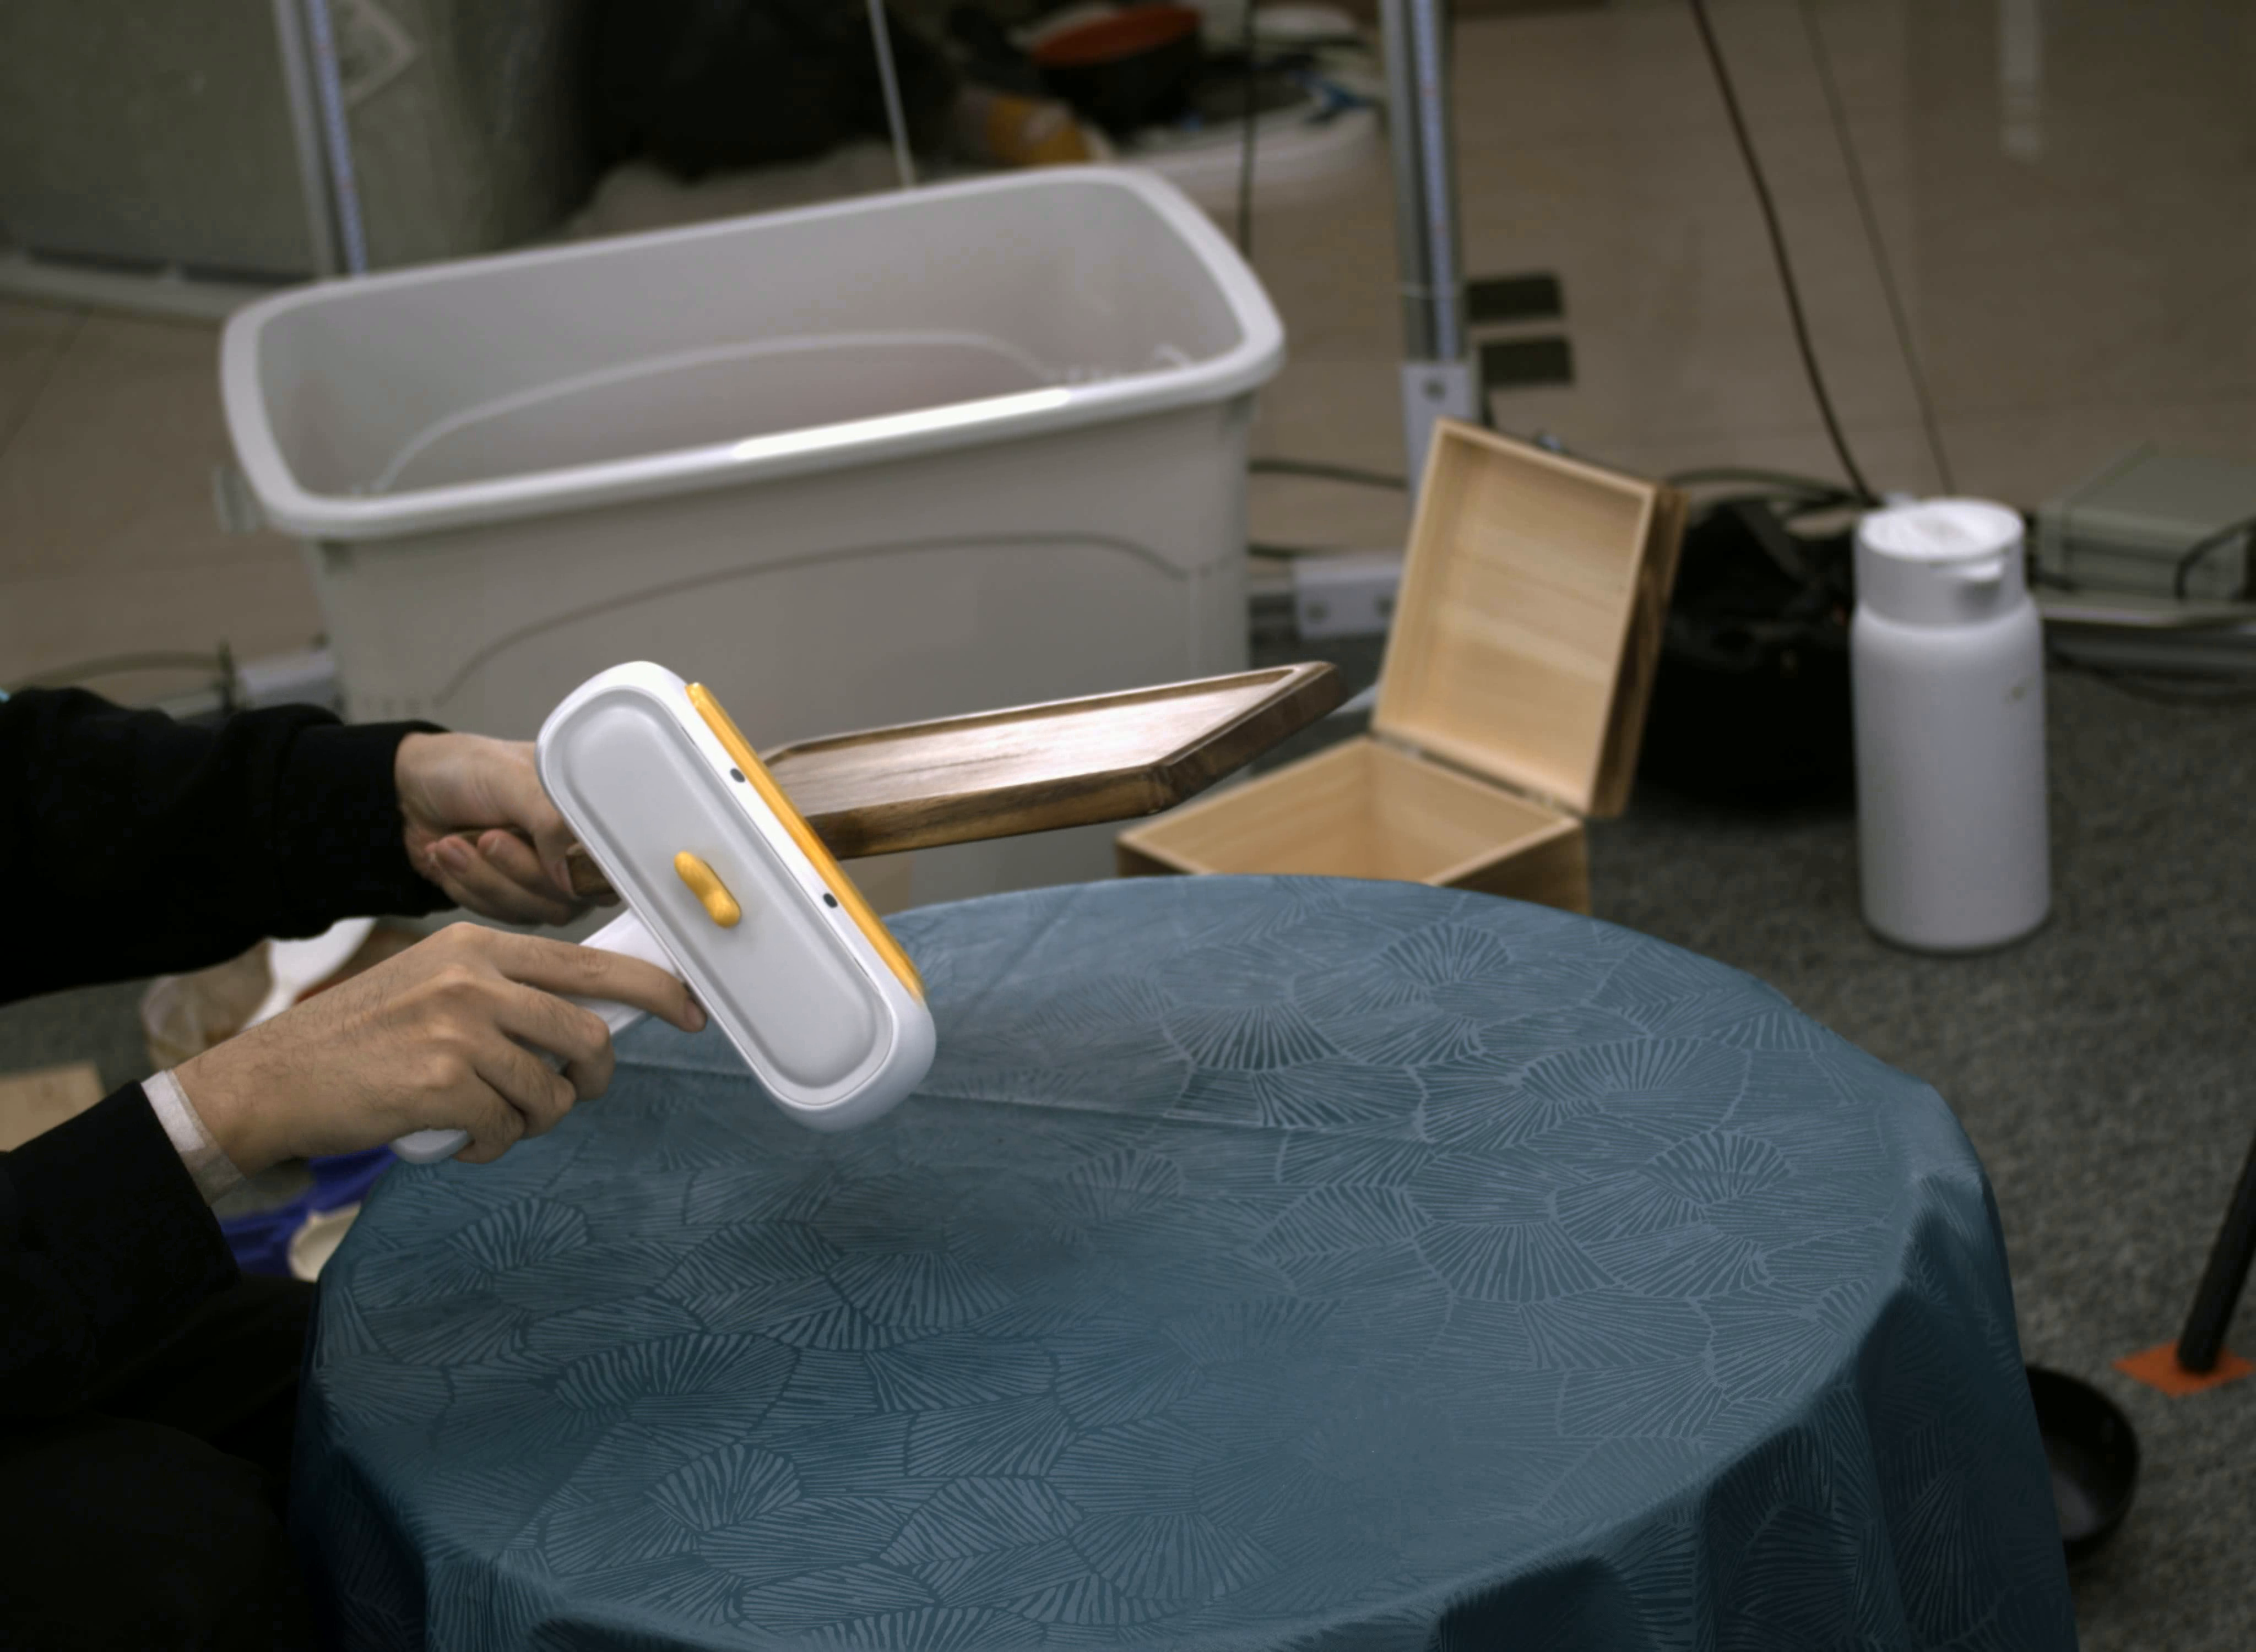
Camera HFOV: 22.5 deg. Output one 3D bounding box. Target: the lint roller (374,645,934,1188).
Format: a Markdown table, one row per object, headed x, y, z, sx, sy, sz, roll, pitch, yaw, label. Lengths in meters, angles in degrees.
| x | y | z | sx | sy | sz | roll | pitch | yaw | label |
| --- | --- | --- | --- | --- | --- | --- | --- | --- | --- |
| -0.192 | 0.057 | 2.051 | 0.192 | 0.192 | 0.074 | -42 | -2 | -2 | lint roller |

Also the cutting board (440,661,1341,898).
| x | y | z | sx | sy | sz | roll | pitch | yaw | label |
| --- | --- | --- | --- | --- | --- | --- | --- | --- | --- |
| -0.109 | -0.012 | 2.177 | 0.352 | 0.023 | 0.199 | -9 | 10 | 24 | cutting board |
